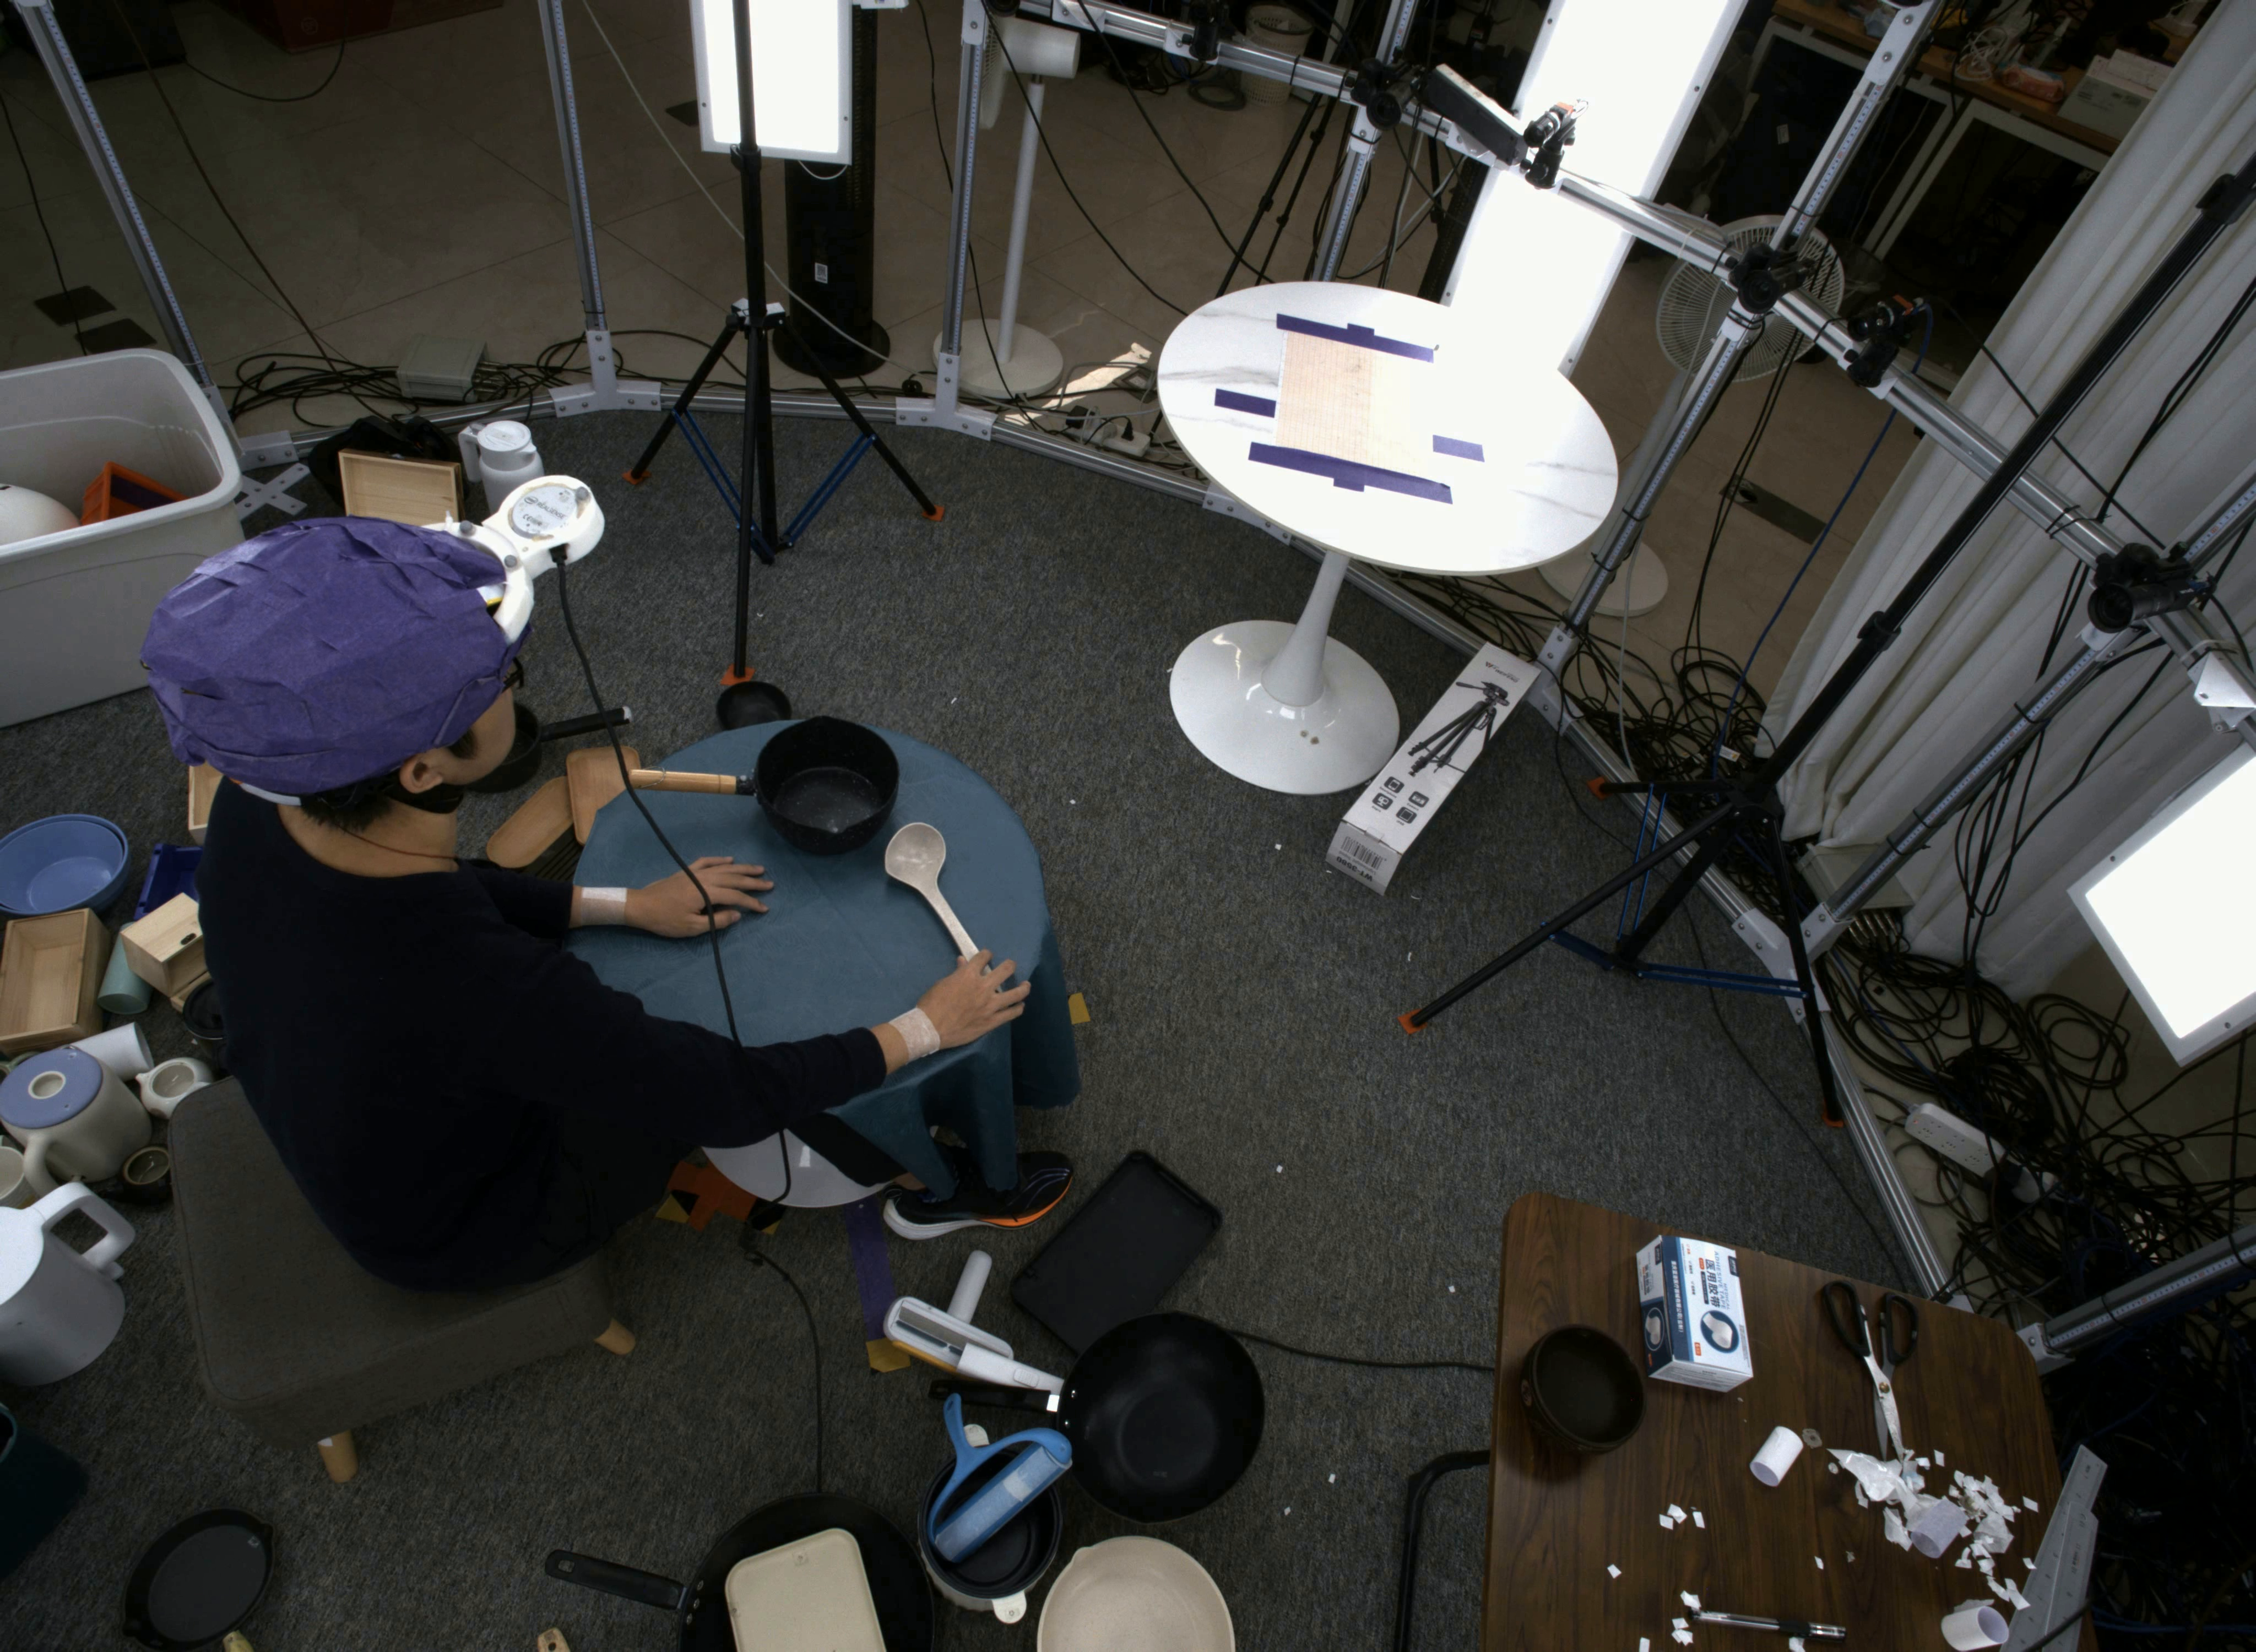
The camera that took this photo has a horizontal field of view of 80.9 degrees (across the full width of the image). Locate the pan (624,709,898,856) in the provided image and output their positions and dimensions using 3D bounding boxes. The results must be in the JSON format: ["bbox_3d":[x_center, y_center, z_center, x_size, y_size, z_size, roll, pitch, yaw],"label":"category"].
[{"bbox_3d":[-0.470,-0.047,1.667,0.344,0.110,0.203,-5,56,-20],"label":"pan"}]

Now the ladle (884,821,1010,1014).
[{"bbox_3d":[-0.216,0.110,1.642,0.090,0.070,0.268,-16,57,-42],"label":"ladle"}]
